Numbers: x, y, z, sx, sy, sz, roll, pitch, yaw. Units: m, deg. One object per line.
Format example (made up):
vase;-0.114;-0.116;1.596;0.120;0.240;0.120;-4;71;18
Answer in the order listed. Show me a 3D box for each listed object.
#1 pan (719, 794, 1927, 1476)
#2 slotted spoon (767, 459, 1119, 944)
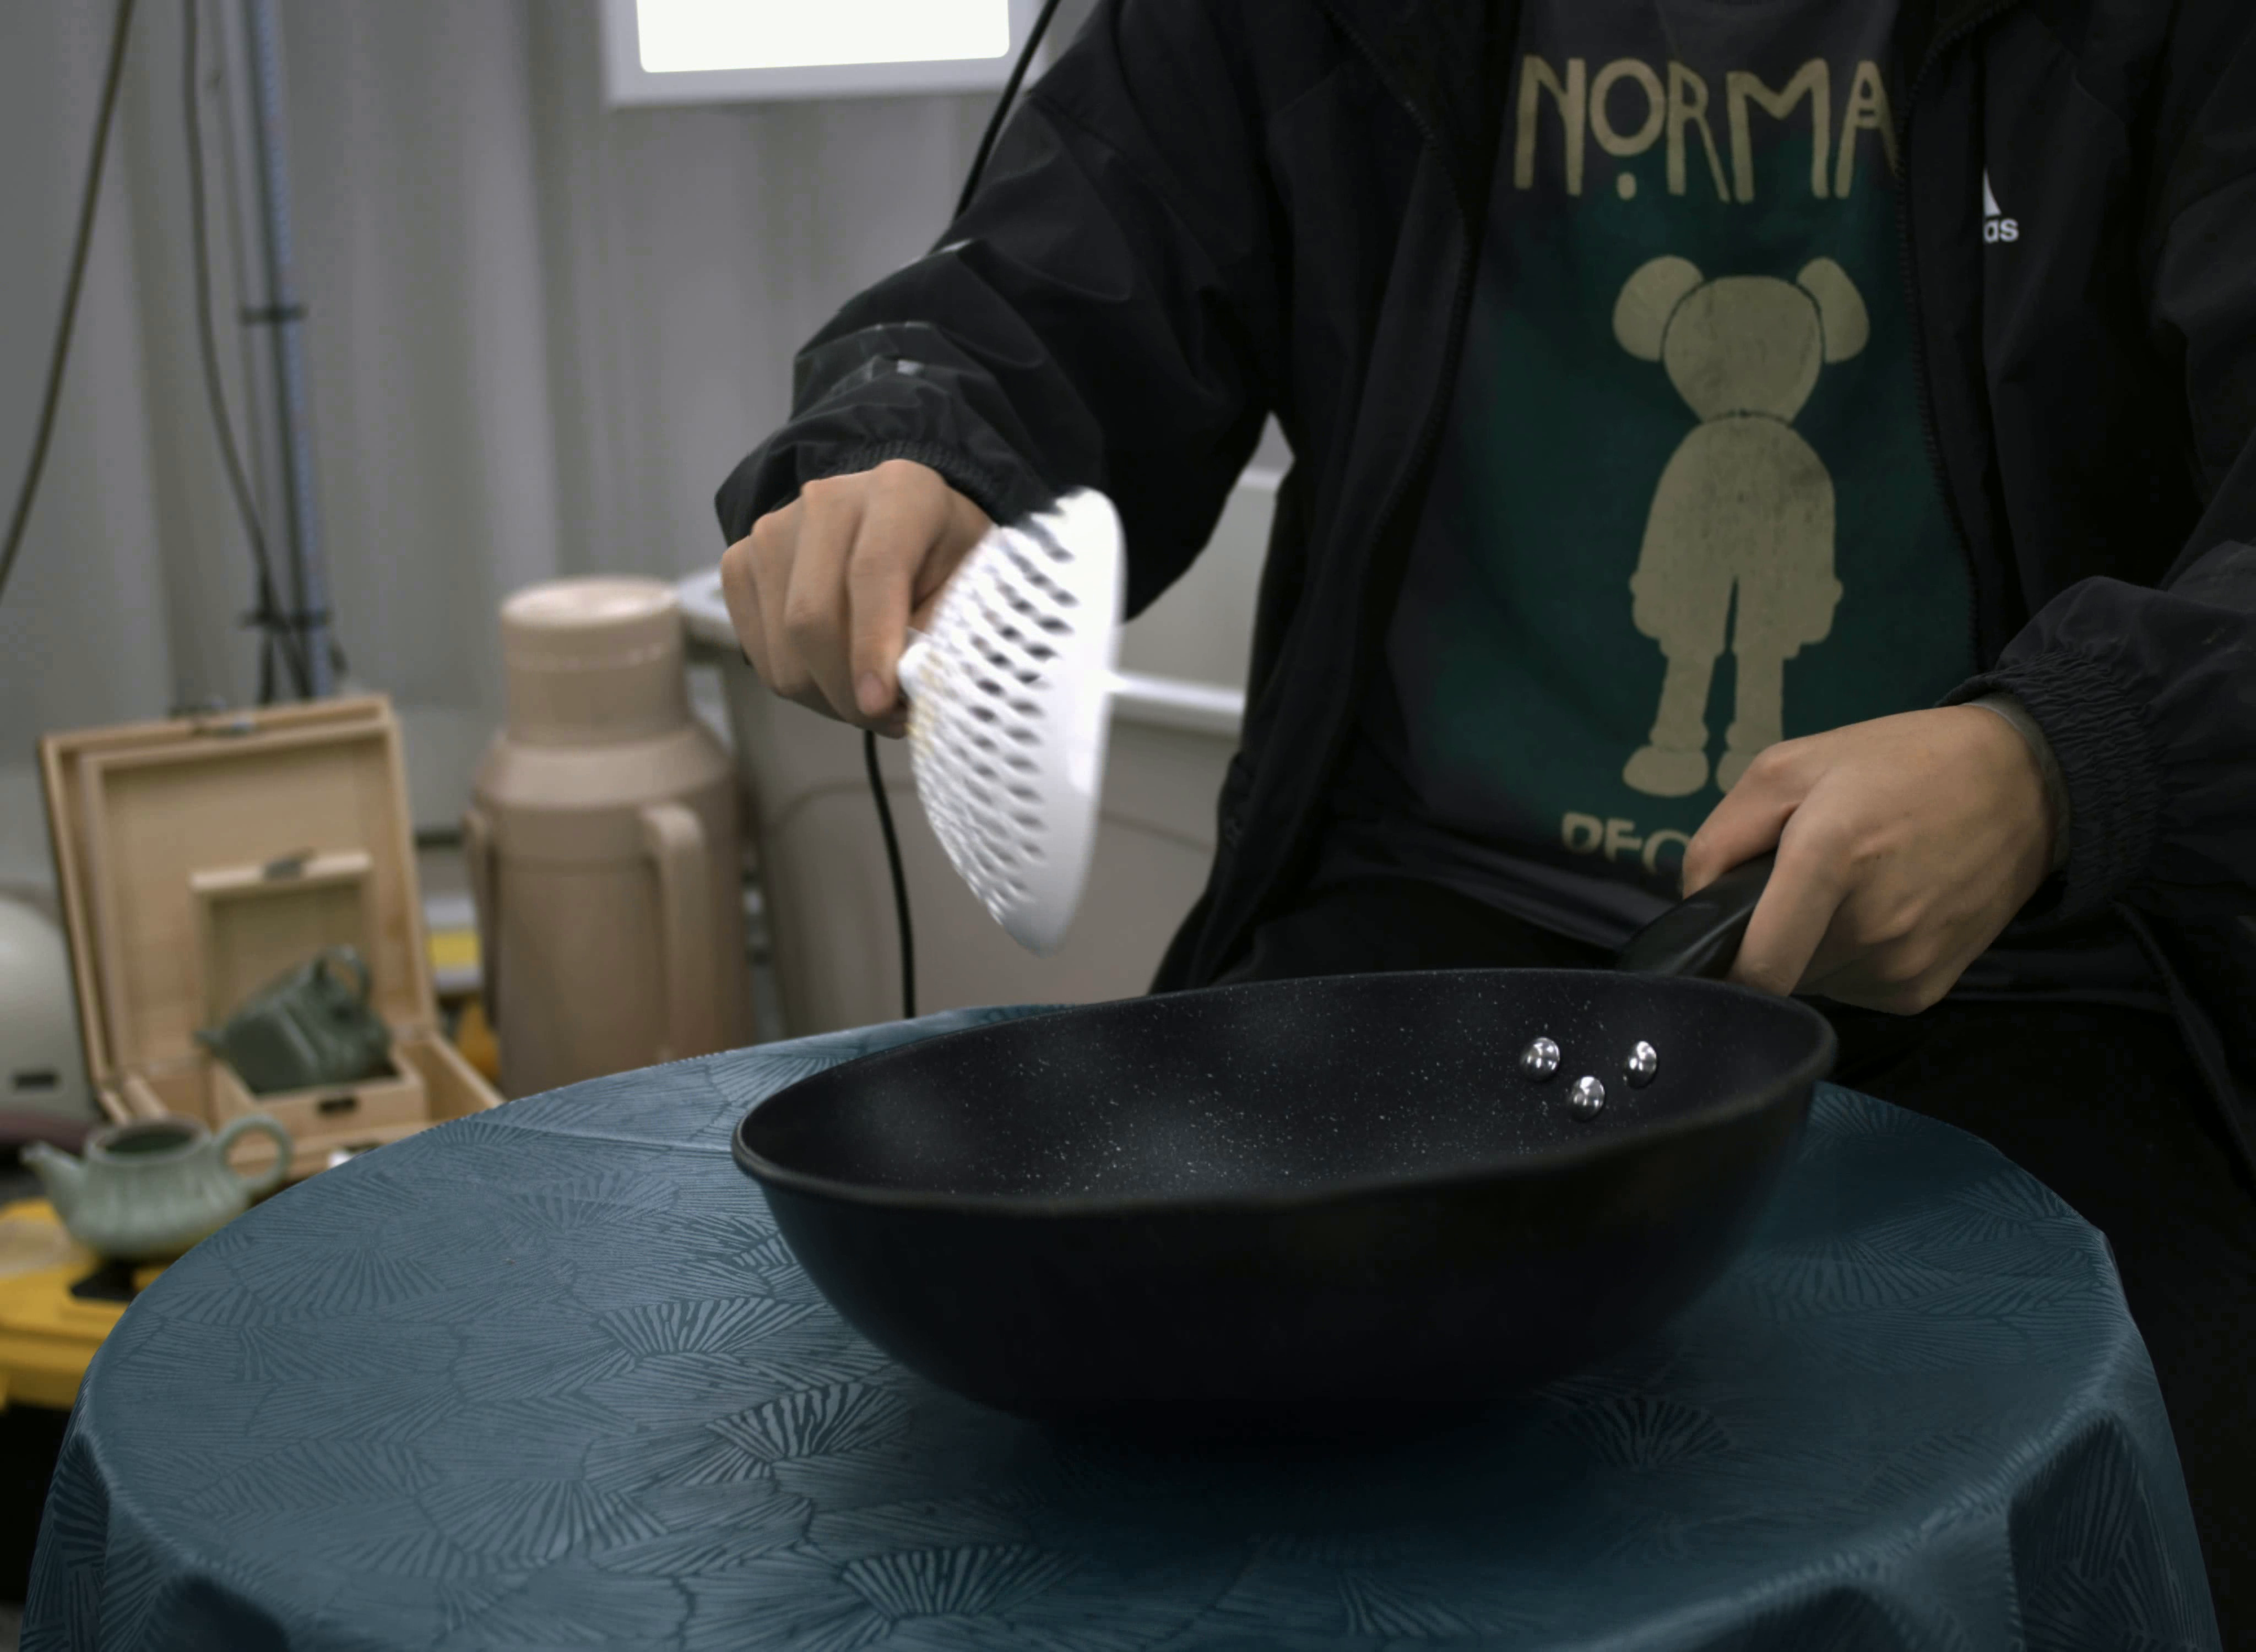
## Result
pan;0.097;0.089;1.578;0.311;0.111;0.476;4;13;40
slotted spoon;-0.062;-0.046;1.649;0.050;0.137;0.349;4;4;-12
